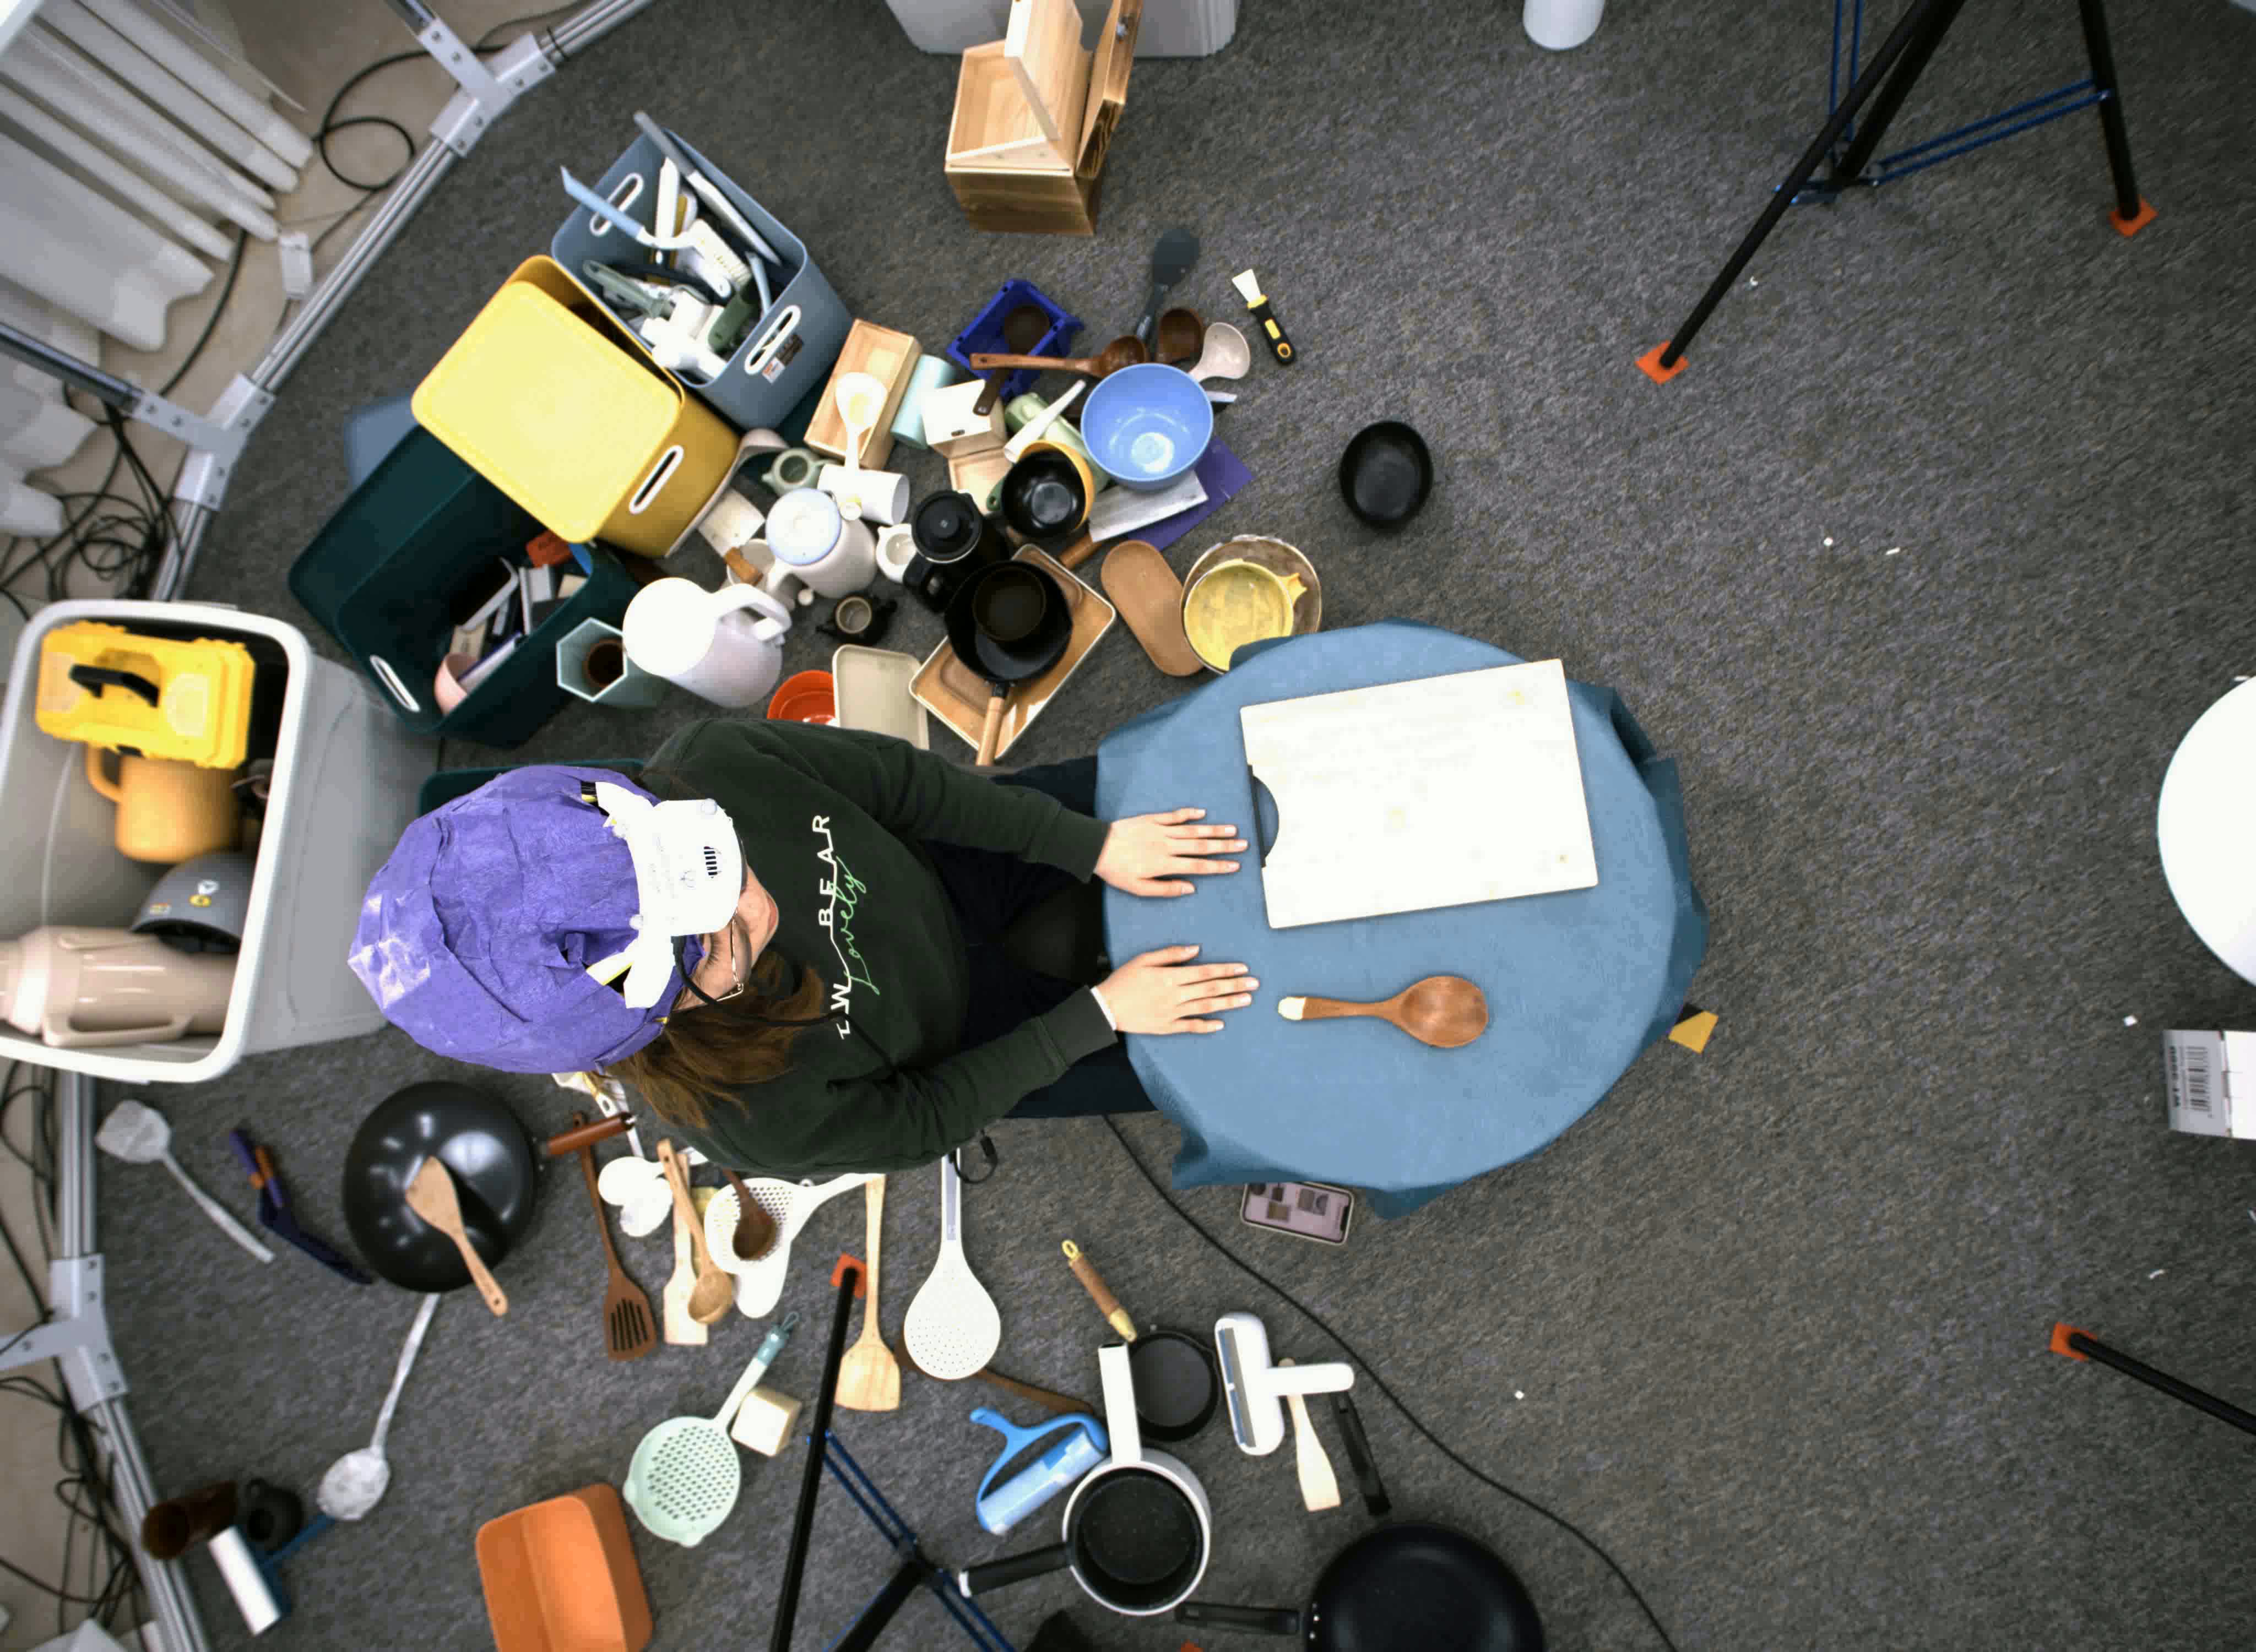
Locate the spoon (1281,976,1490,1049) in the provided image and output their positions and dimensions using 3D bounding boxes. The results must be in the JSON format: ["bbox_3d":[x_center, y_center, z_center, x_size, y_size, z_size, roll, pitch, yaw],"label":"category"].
[{"bbox_3d":[0.268,0.192,1.448,0.216,0.017,0.075,0,88,10],"label":"spoon"}]

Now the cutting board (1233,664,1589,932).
[{"bbox_3d":[0.299,-0.030,1.458,0.350,0.023,0.249,-9,84,10],"label":"cutting board"}]
